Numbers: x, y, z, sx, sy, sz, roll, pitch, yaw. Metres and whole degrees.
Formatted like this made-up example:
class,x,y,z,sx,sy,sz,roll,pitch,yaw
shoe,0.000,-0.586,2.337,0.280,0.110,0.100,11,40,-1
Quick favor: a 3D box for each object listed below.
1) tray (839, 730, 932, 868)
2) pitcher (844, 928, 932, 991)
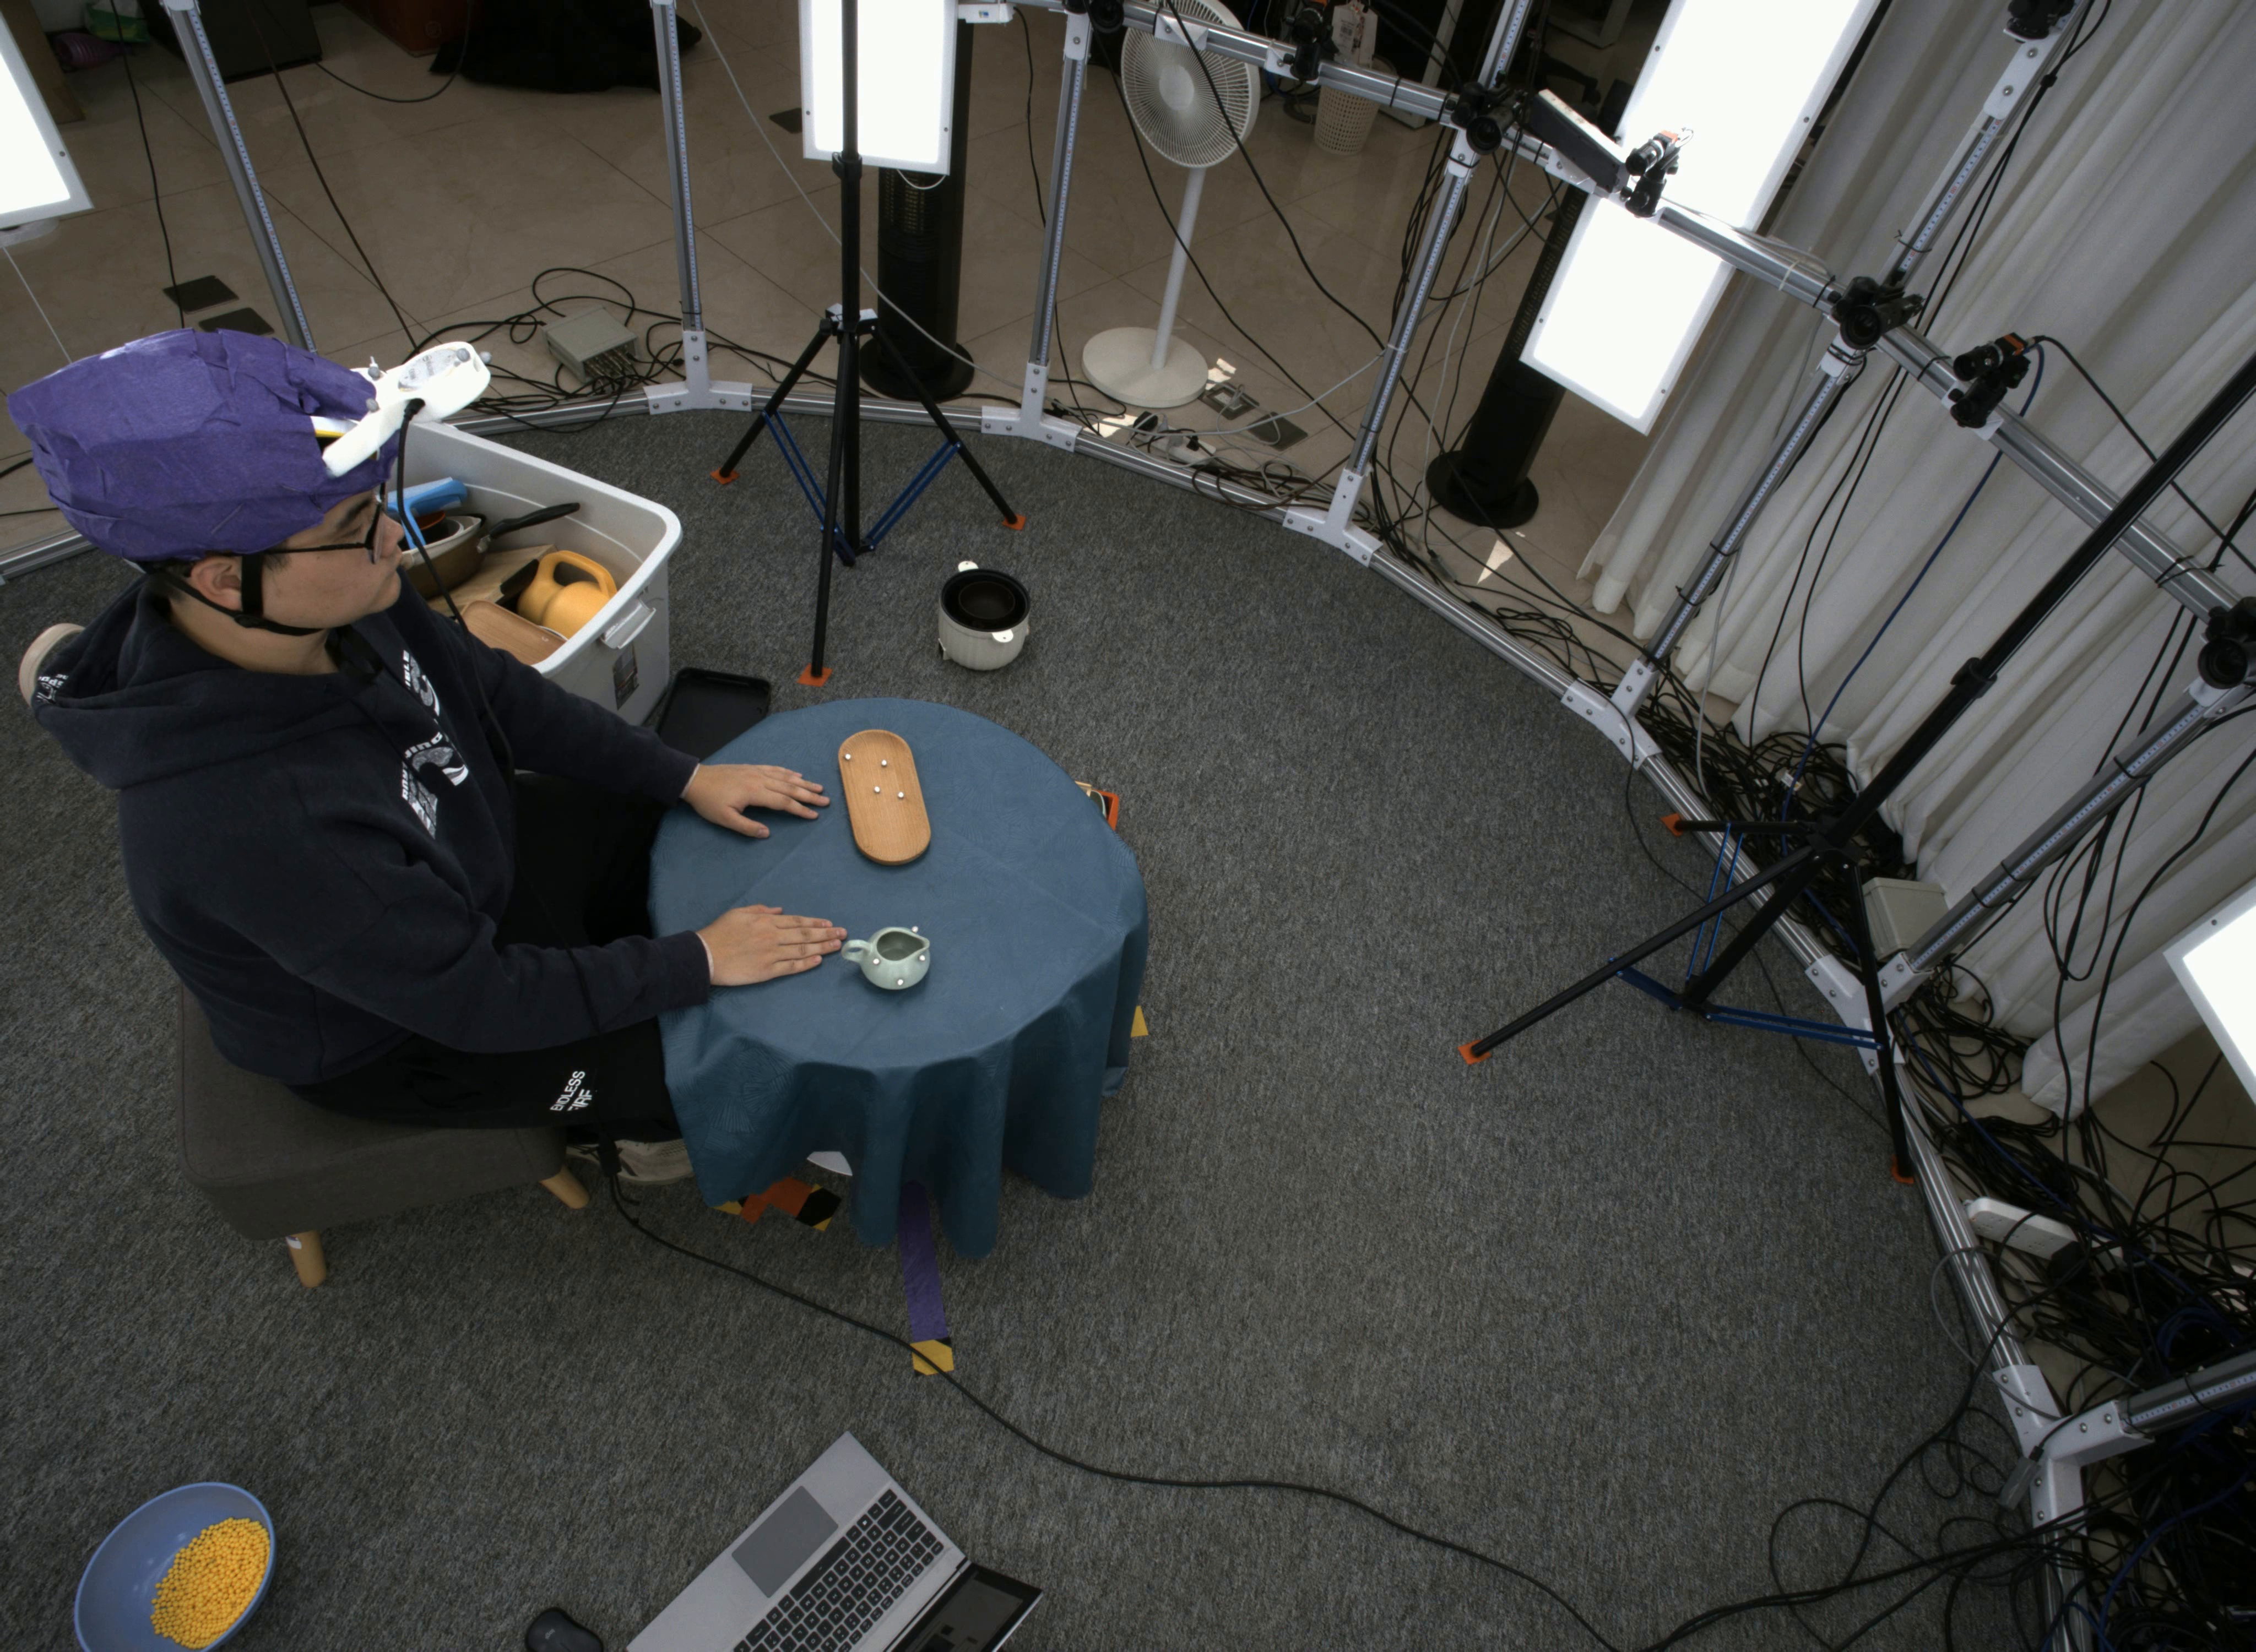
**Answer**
class,x,y,z,sx,sy,sz,roll,pitch,yaw
tray,-0.331,-0.039,1.763,0.102,0.021,0.226,-9,59,-18
pitcher,-0.295,0.159,1.598,0.108,0.062,0.084,-3,53,-12
